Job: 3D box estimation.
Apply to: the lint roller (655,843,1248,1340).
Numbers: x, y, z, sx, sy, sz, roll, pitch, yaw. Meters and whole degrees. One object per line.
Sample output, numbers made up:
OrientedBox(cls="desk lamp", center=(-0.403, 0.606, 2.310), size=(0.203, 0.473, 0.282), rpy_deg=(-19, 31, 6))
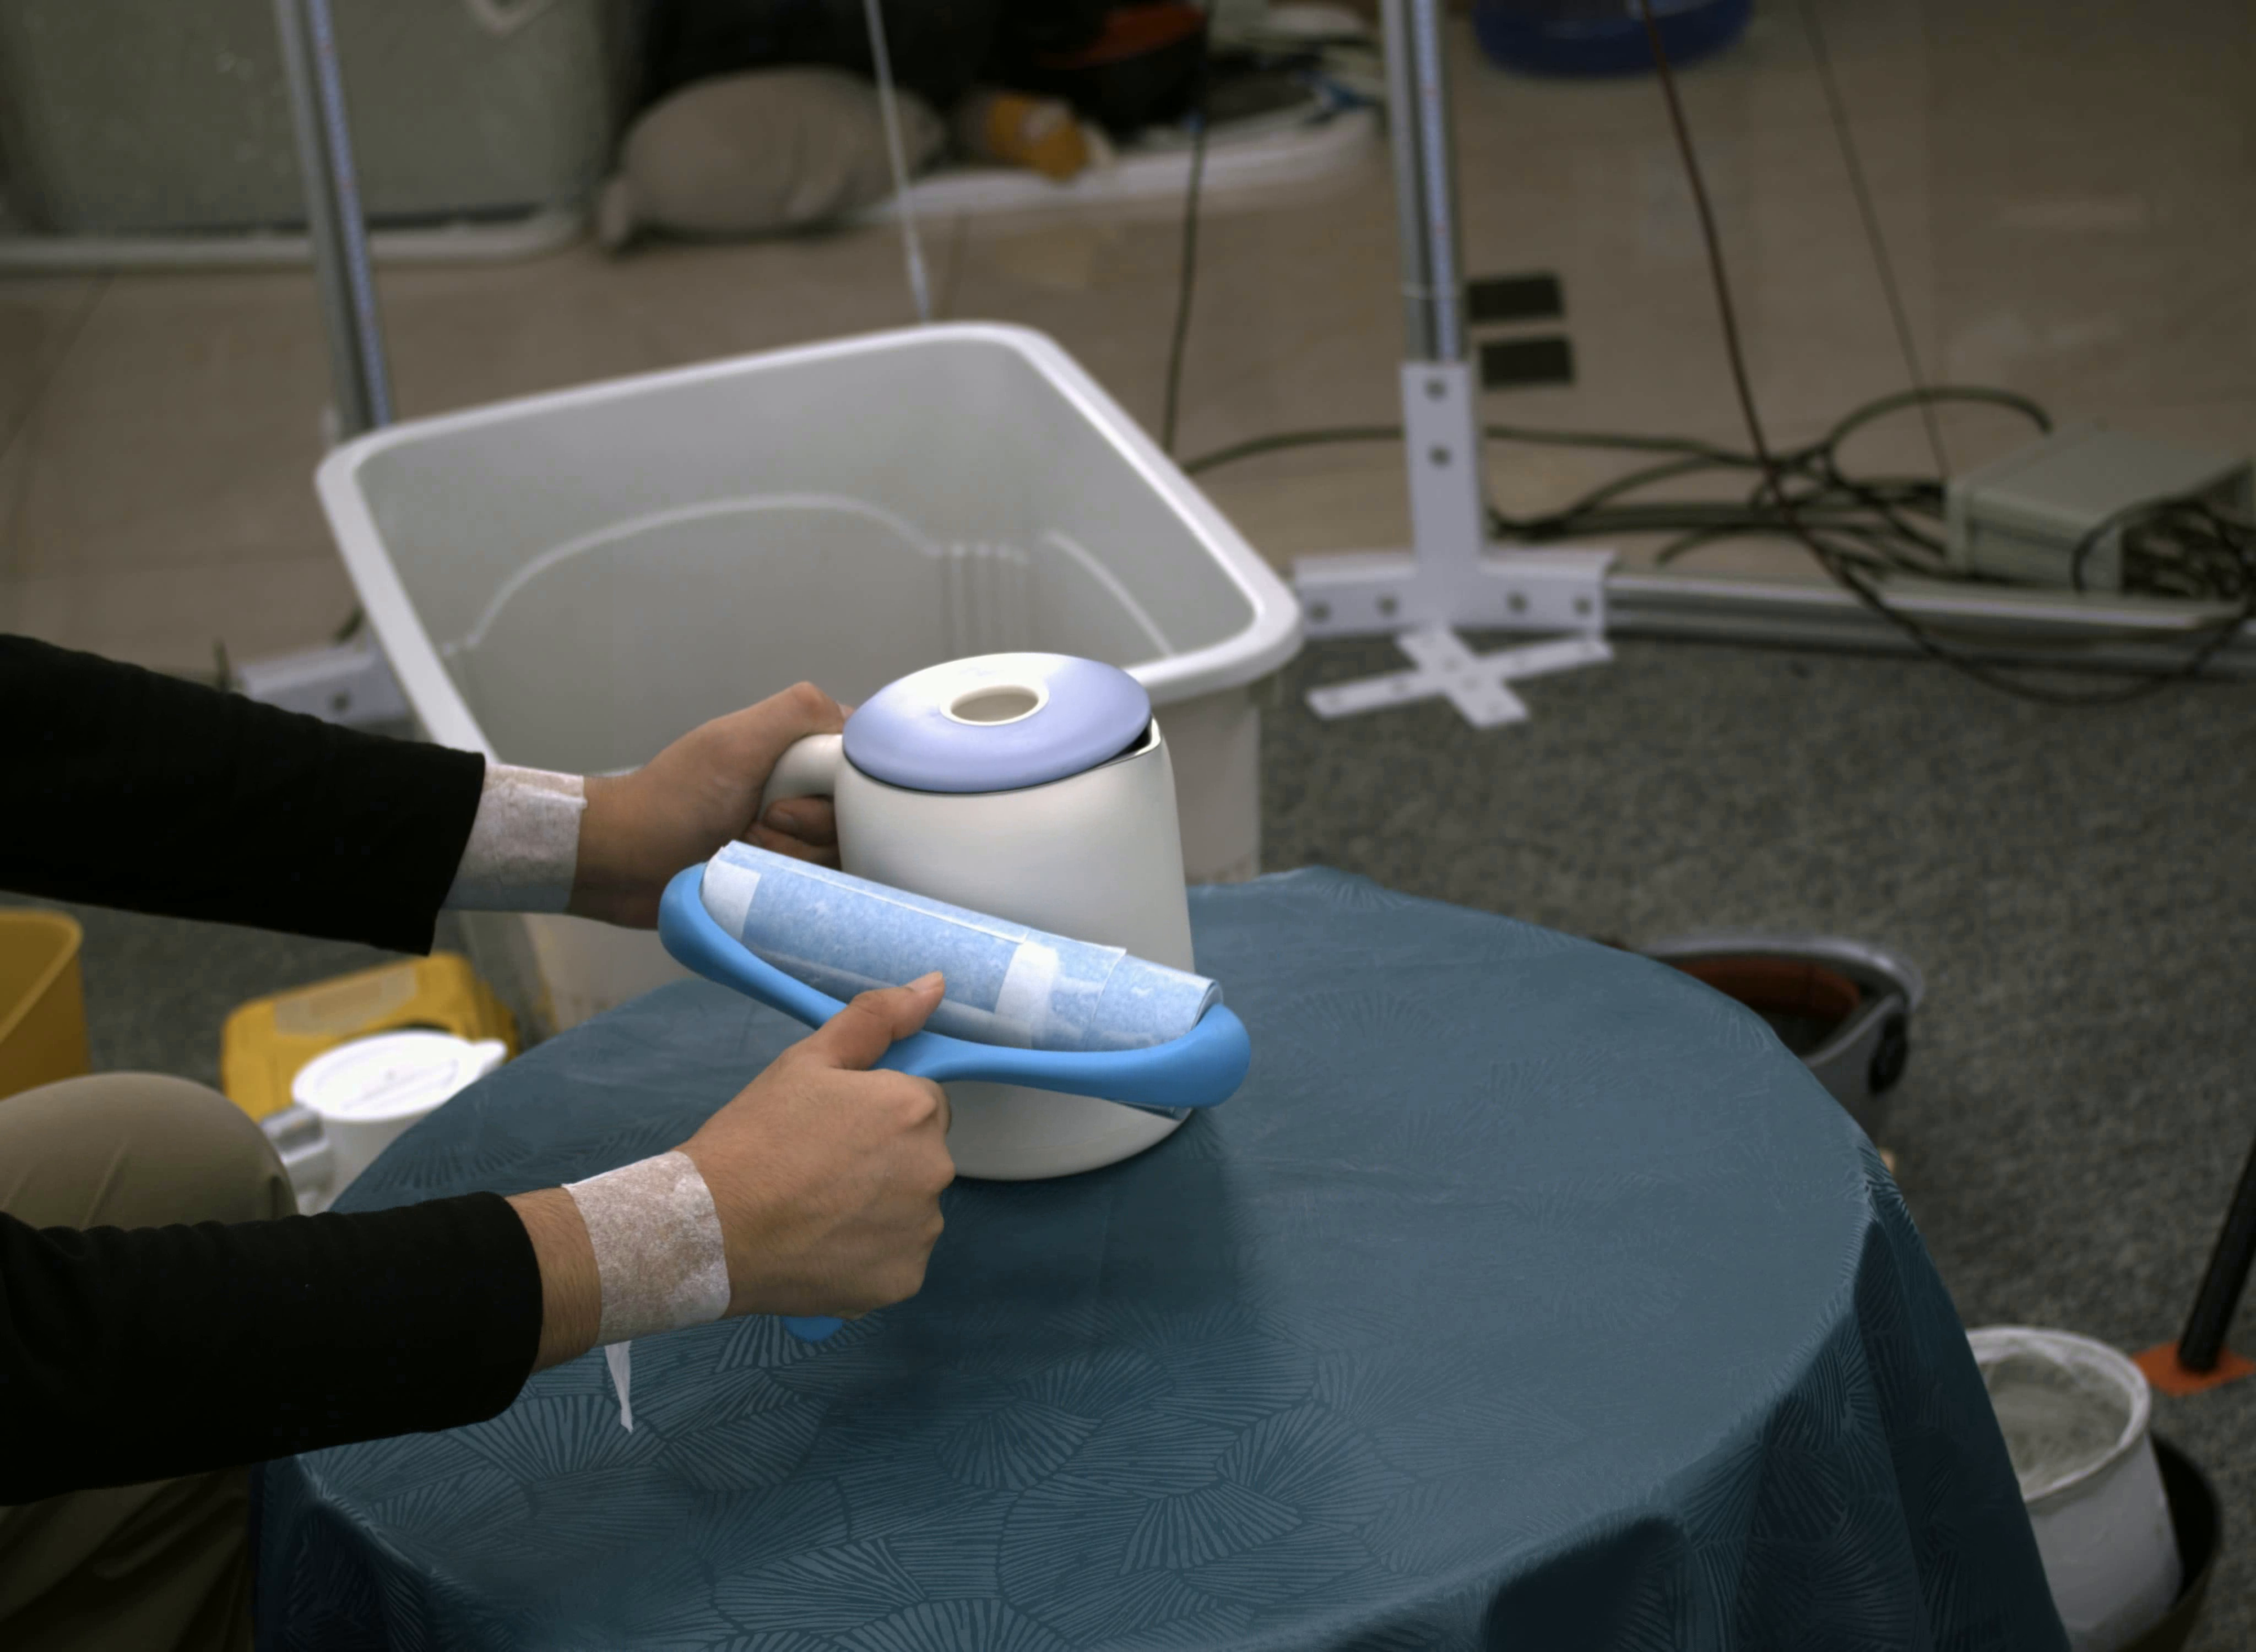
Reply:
OrientedBox(cls="lint roller", center=(-0.083, 0.099, 2.052), size=(0.228, 0.069, 0.177), rpy_deg=(16, 52, 9))

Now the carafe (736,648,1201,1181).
OrientedBox(cls="carafe", center=(-0.064, 0.032, 2.187), size=(0.190, 0.185, 0.130), rpy_deg=(4, 27, 24))
